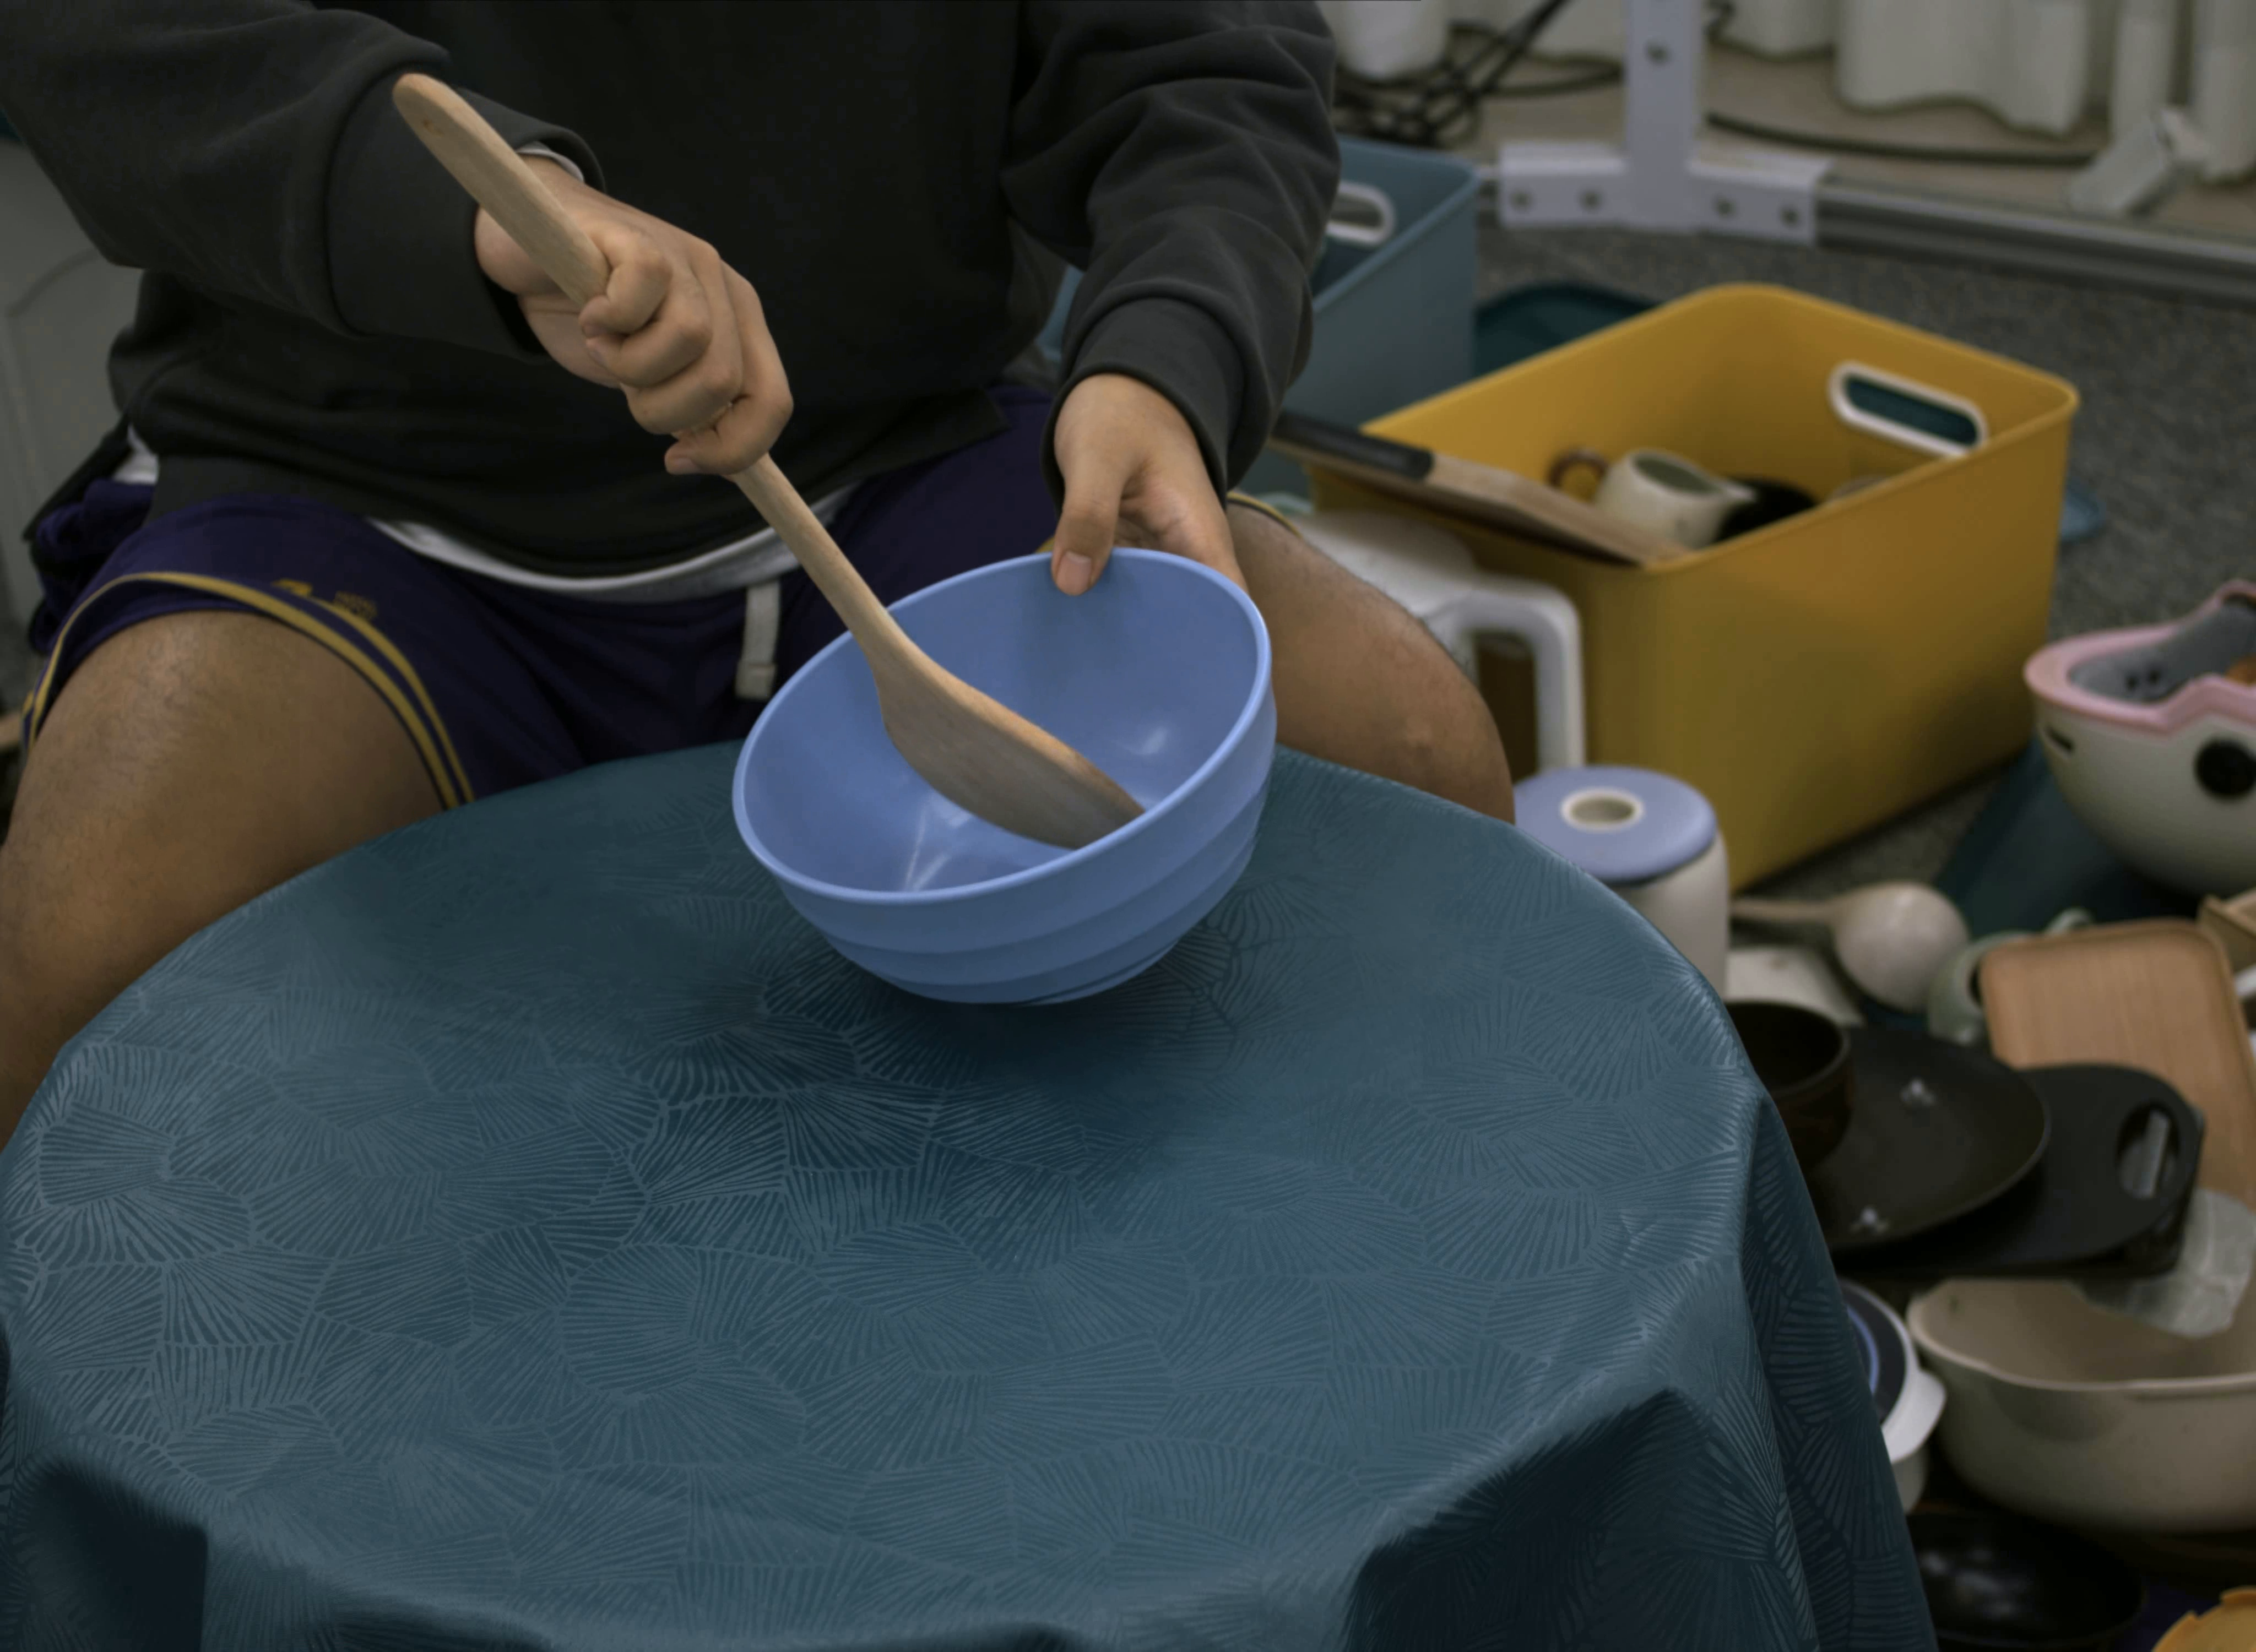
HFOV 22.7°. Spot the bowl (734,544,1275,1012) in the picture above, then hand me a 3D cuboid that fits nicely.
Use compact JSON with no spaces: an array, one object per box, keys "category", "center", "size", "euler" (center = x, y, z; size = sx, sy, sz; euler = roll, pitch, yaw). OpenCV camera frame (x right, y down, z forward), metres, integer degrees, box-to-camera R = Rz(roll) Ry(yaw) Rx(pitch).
[{"category":"bowl","center":[-0.031,-0.001,1.972],"size":[0.195,0.094,0.200],"euler":[-14,36,11]}]

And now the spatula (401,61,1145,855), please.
[{"category":"spatula","center":[-0.117,-0.113,1.879],"size":[0.095,0.387,0.019],"euler":[1,49,46]}]
